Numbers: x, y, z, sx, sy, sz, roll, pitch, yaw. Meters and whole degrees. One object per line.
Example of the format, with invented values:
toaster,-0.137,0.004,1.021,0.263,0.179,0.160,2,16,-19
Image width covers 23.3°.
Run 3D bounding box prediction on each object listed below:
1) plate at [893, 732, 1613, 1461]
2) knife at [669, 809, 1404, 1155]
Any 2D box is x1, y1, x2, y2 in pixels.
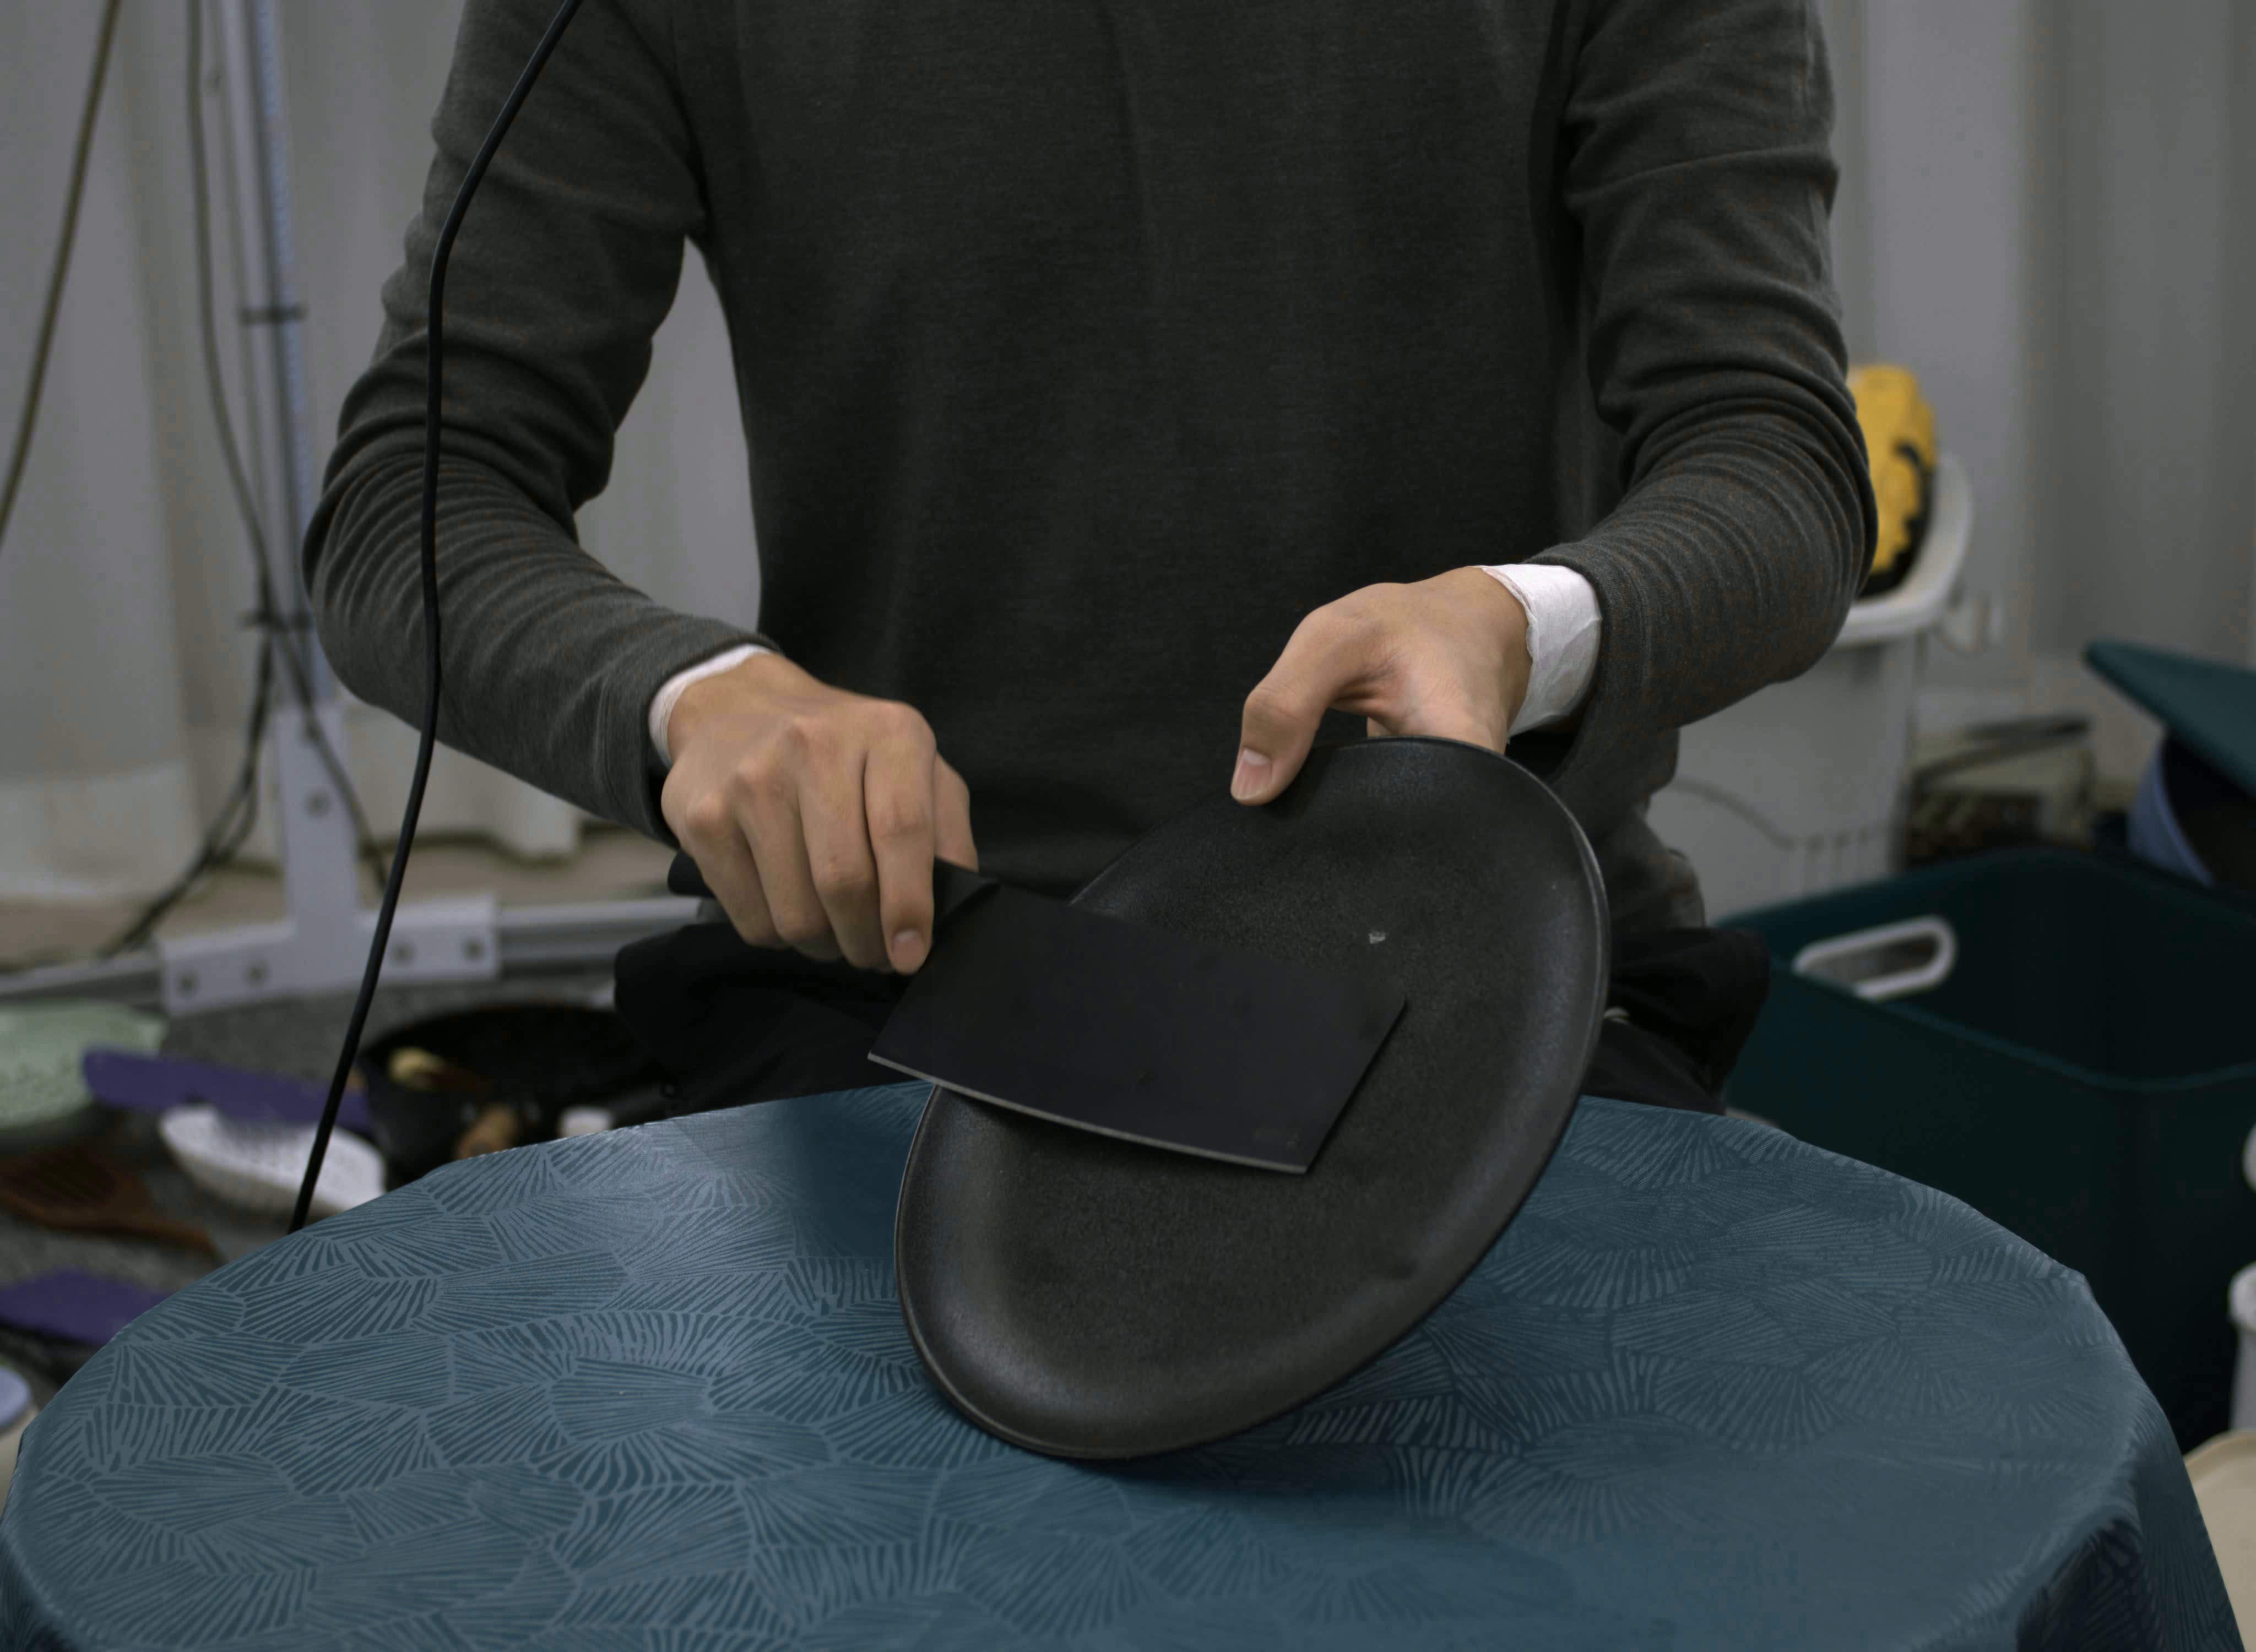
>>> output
plate,0.037,0.078,1.548,0.243,0.023,0.248,-26,40,24
knife,-0.038,0.042,1.638,0.304,0.020,0.081,19,68,46
